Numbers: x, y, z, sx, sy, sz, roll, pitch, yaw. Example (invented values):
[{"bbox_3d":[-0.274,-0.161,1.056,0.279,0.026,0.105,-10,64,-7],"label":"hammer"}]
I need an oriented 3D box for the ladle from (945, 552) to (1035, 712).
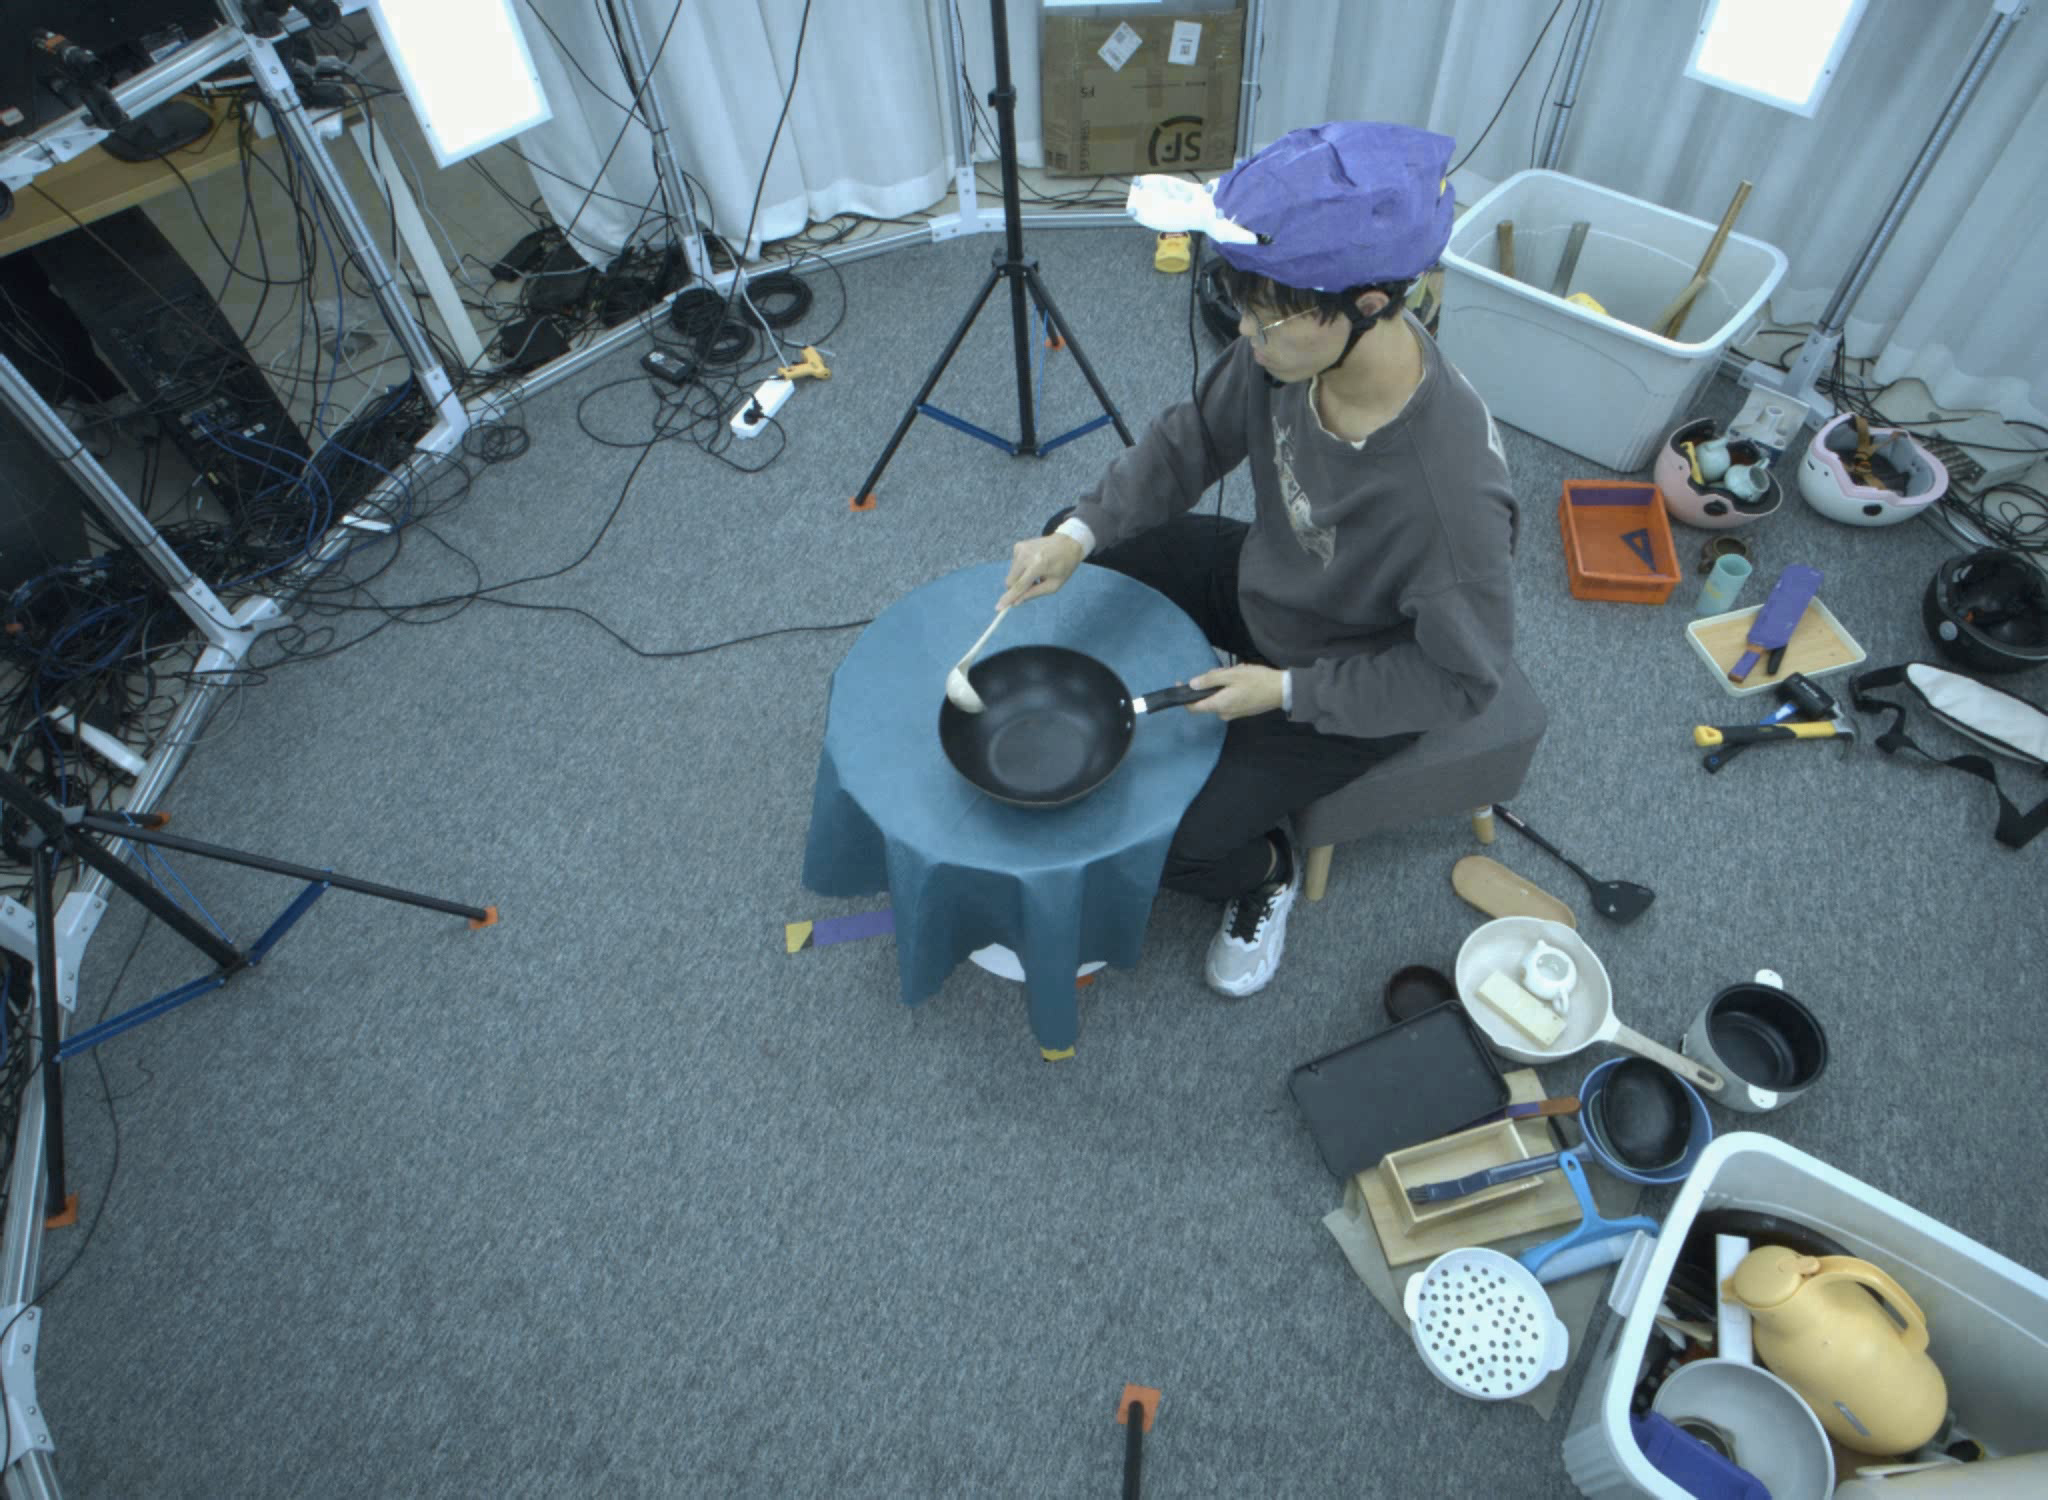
[{"bbox_3d":[-0.027,-0.170,1.743,0.071,0.074,0.254,23,78,40],"label":"ladle"}]

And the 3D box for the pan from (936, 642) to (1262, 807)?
[{"bbox_3d":[0.108,-0.039,1.757,0.465,0.088,0.284,-10,54,-6],"label":"pan"}]
